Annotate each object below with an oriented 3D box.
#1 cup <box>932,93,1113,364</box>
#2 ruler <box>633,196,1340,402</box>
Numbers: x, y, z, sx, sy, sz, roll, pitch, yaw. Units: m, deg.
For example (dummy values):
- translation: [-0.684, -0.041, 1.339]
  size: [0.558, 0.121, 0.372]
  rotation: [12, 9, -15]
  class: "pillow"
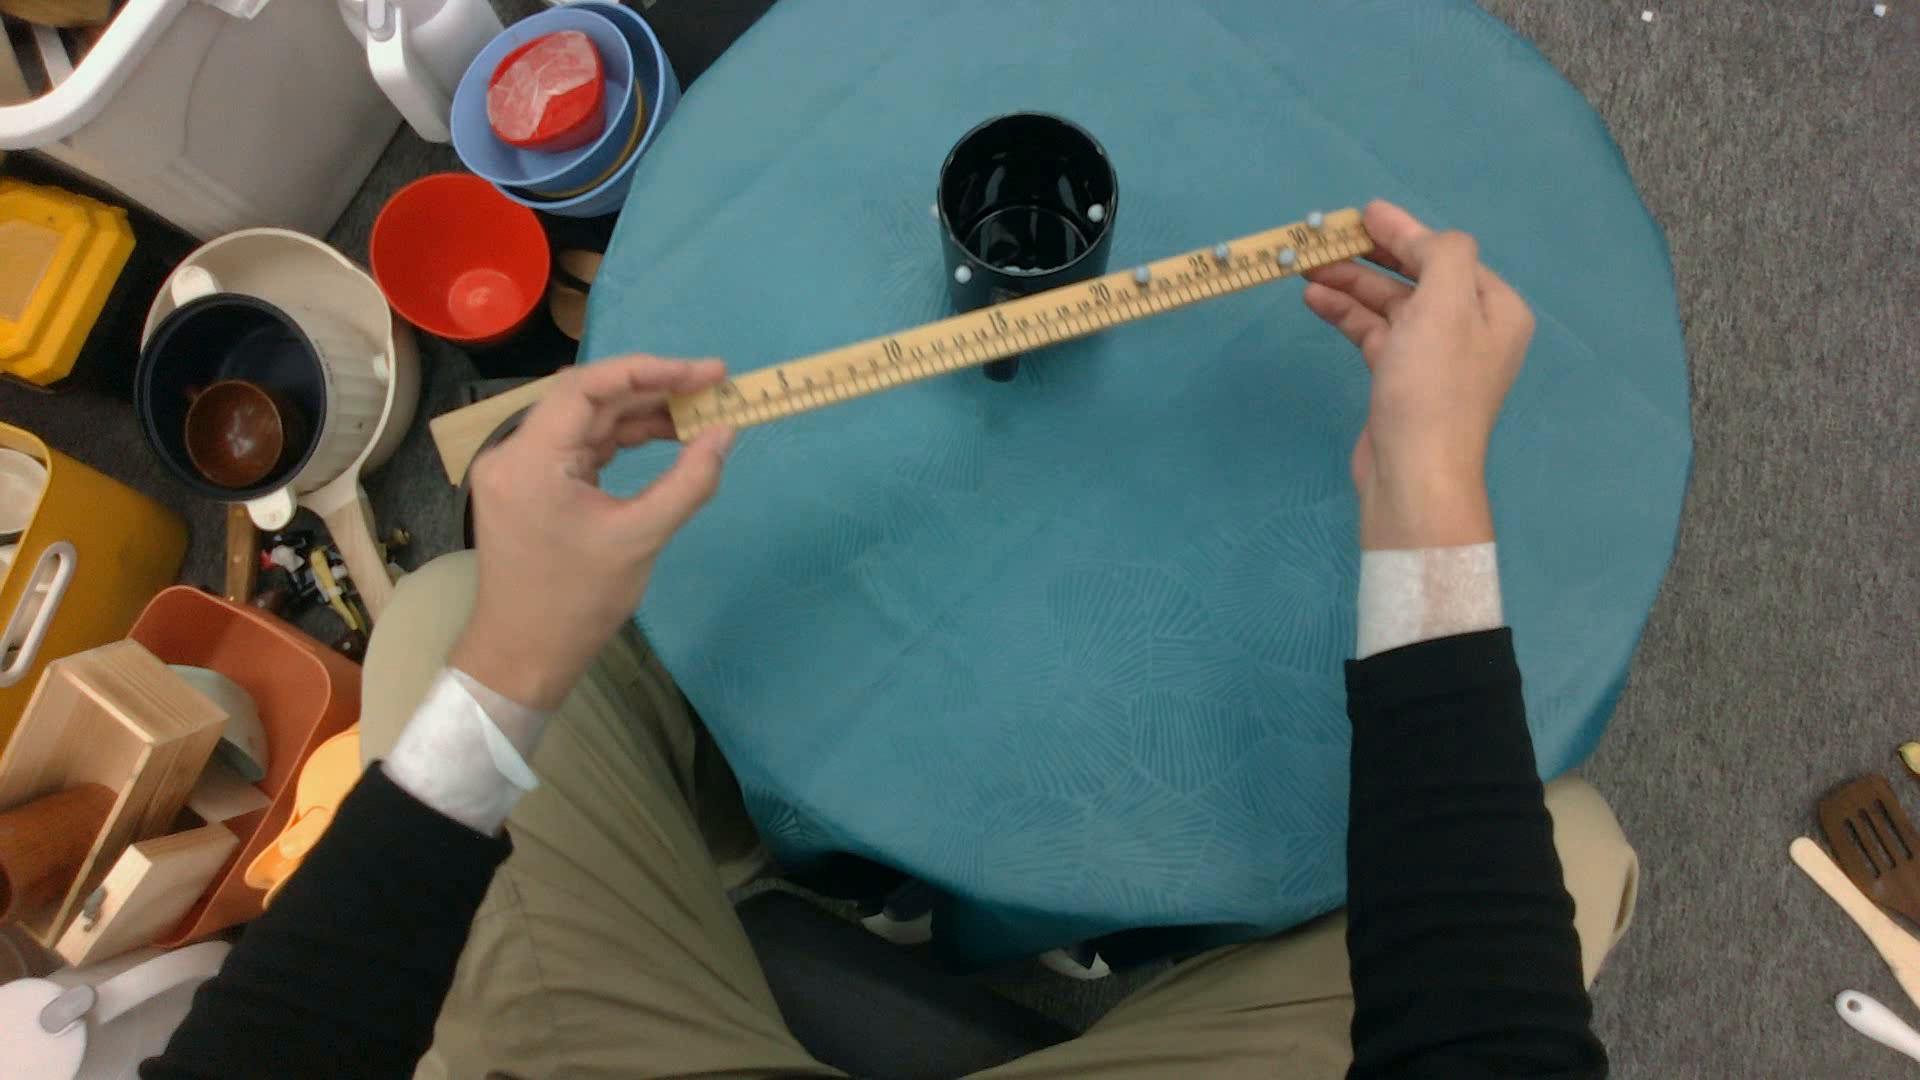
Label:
- translation: [0.025, -0.150, 0.710]
  size: [0.088, 0.105, 0.124]
  rotation: [14, 78, 2]
  class: "cup"
- translation: [0.019, -0.113, 0.622]
  size: [0.332, 0.022, 0.027]
  rotation: [-15, 64, -10]
  class: "ruler"
